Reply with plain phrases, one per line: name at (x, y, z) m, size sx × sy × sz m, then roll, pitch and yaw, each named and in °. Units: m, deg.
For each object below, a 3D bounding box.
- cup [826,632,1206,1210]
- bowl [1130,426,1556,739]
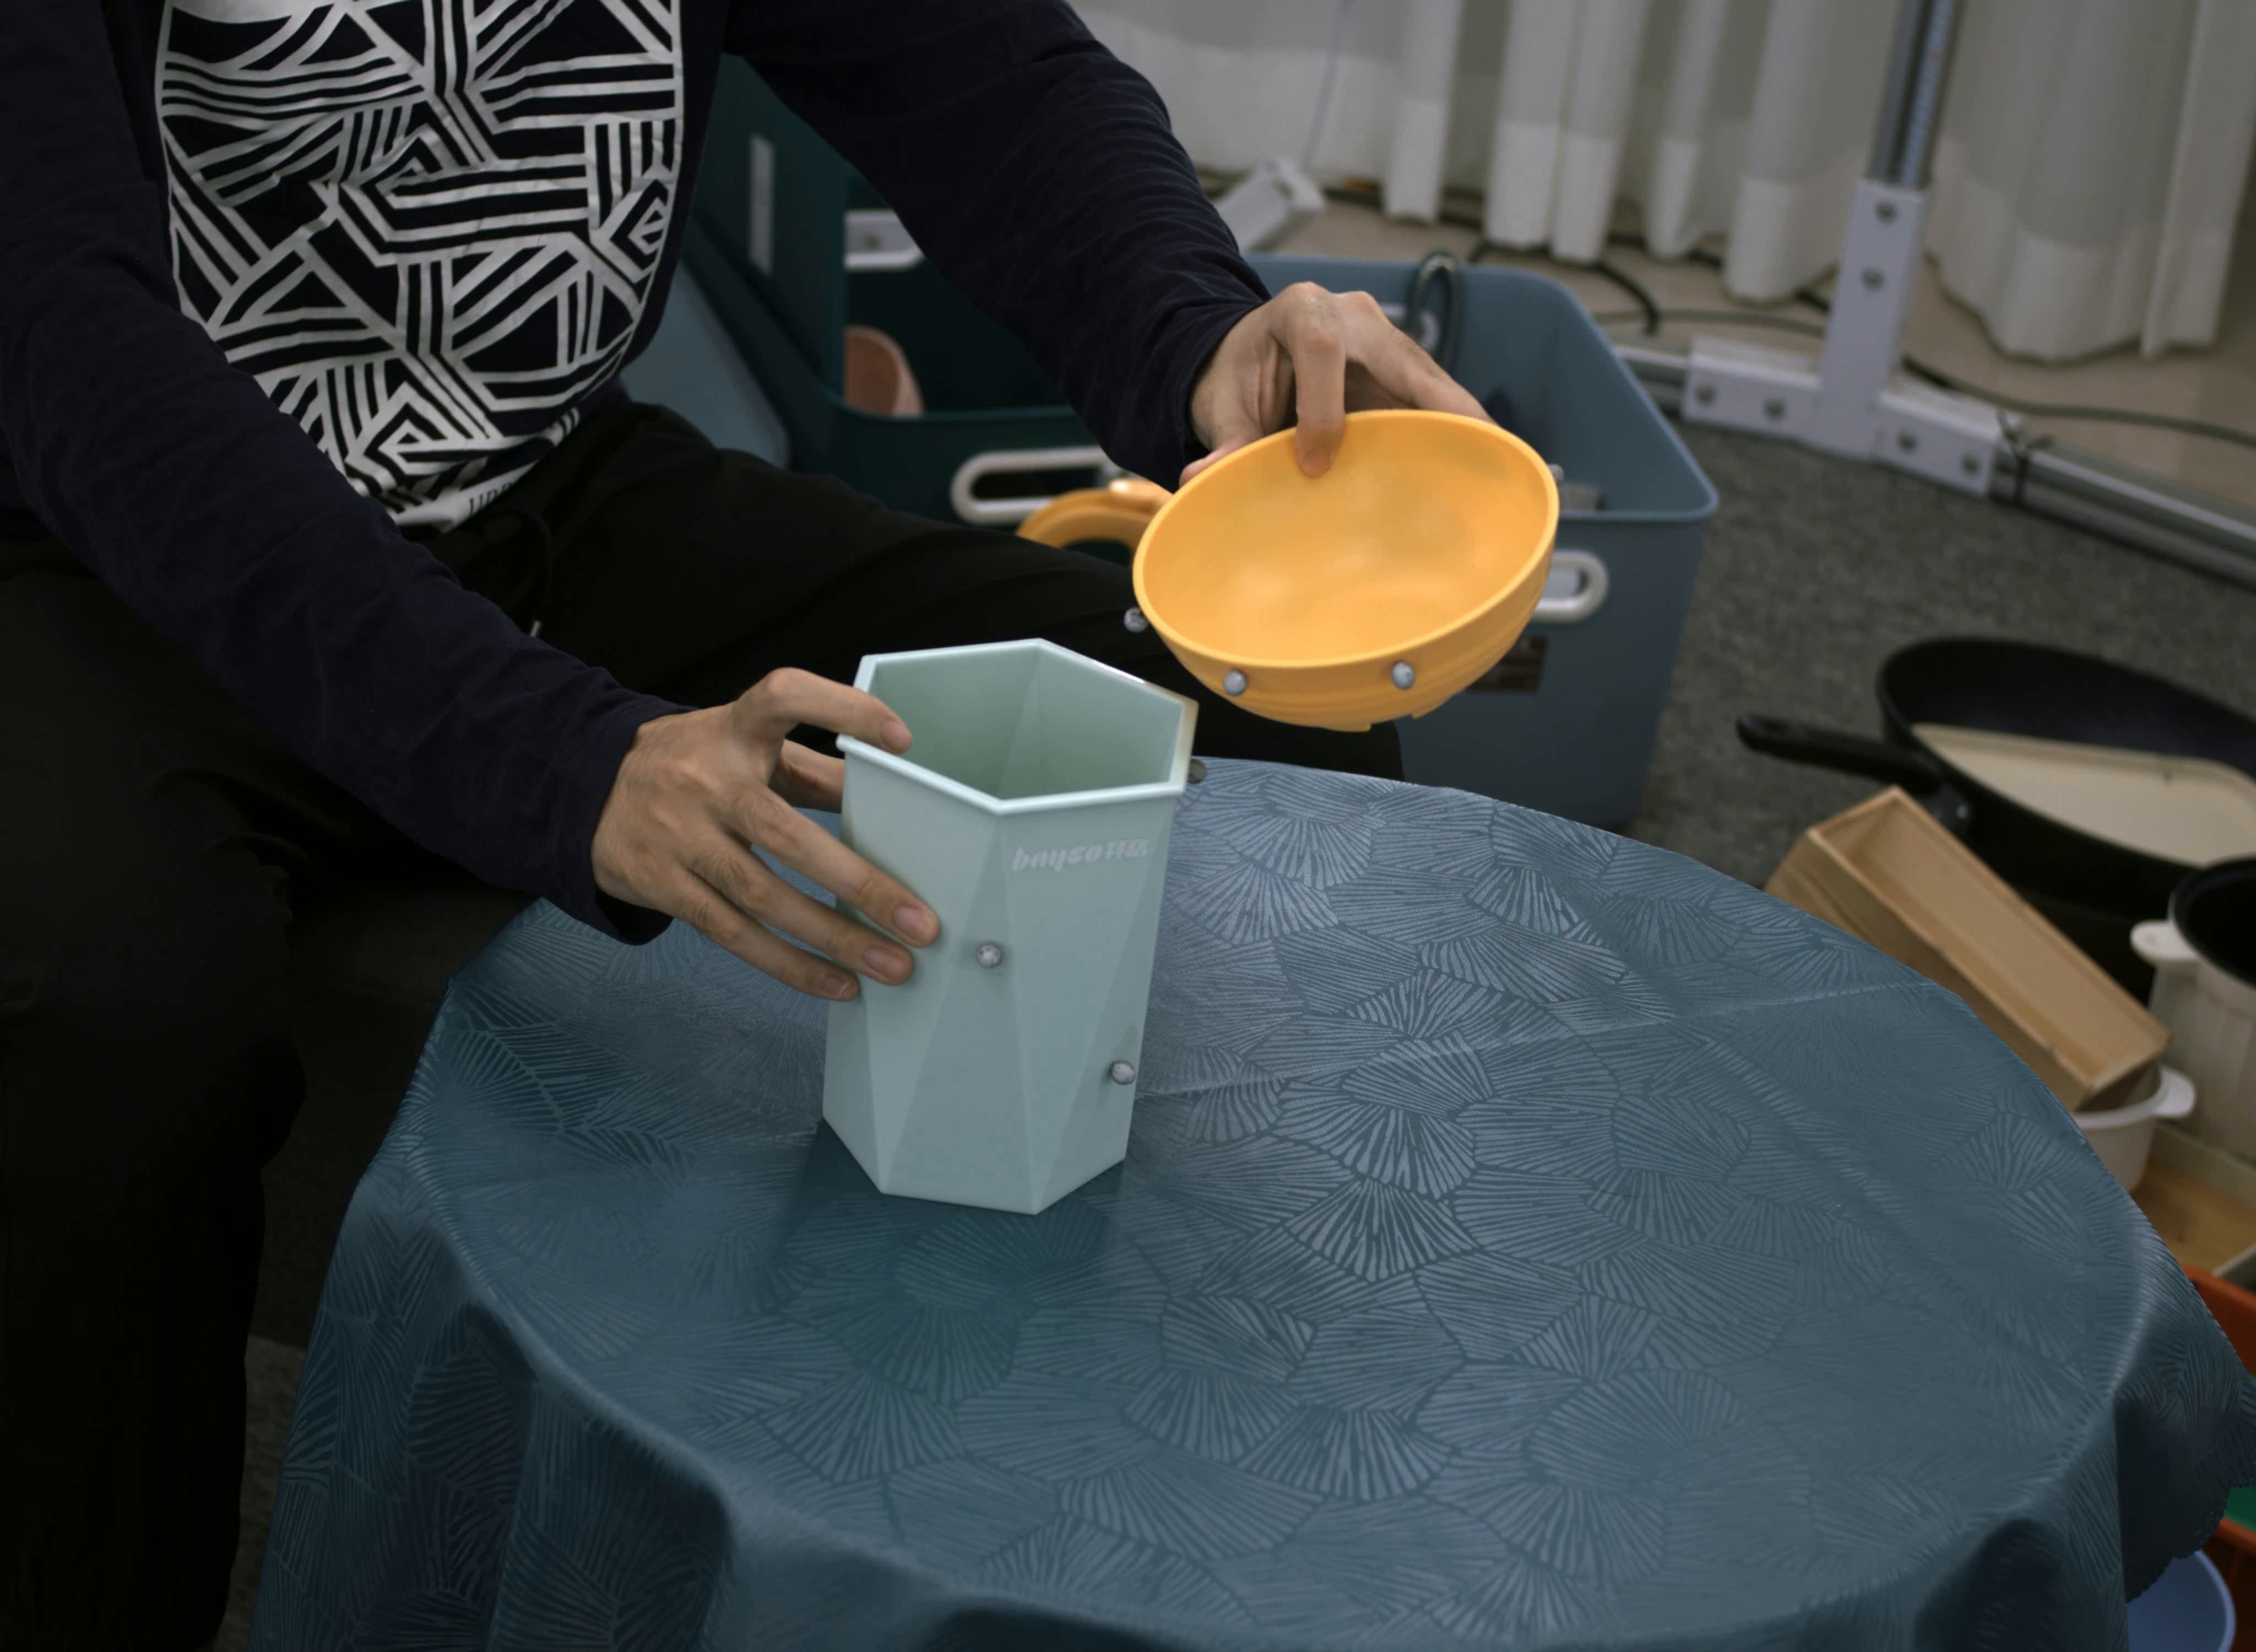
cup at (-0.042, 0.034, 1.790) m, size 0.130 × 0.162 × 0.116 m, roll -6°, pitch 29°, yaw -25°
bowl at (0.077, -0.072, 1.791) m, size 0.145 × 0.060 × 0.146 m, roll -11°, pitch 33°, yaw 7°
